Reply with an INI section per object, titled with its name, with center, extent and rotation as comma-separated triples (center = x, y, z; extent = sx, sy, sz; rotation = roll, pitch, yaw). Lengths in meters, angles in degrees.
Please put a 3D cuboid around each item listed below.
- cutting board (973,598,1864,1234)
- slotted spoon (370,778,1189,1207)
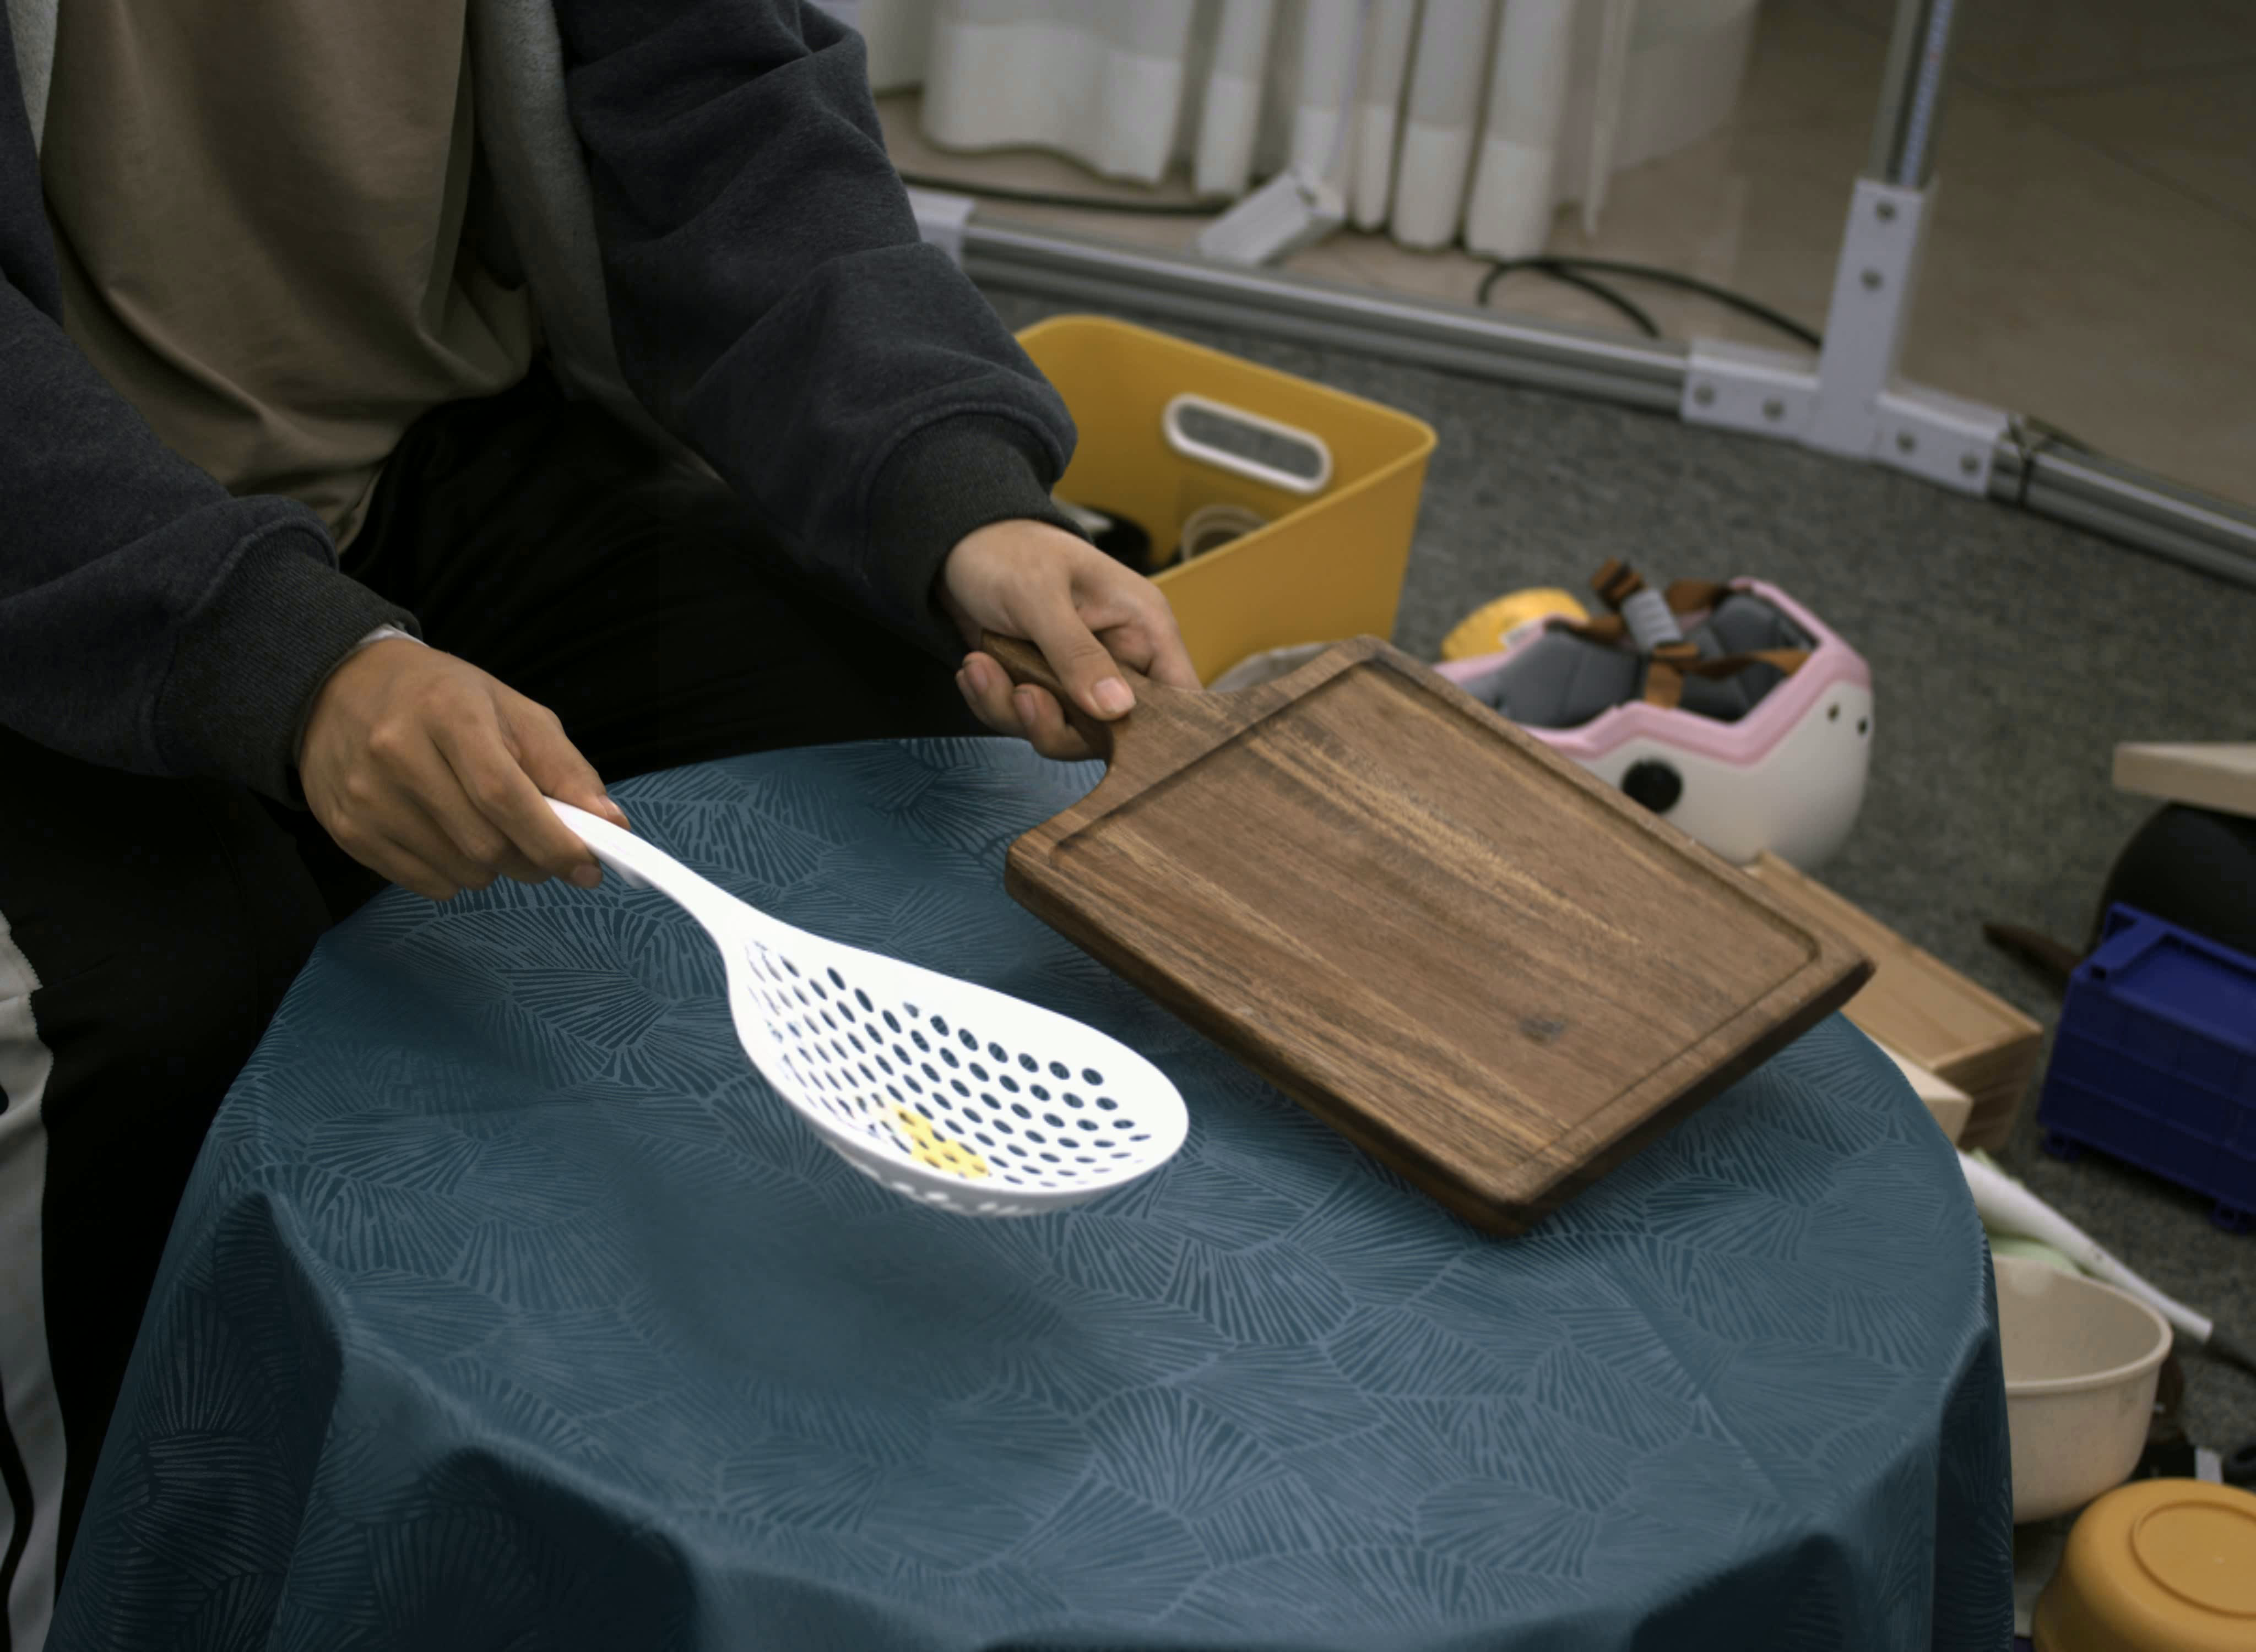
[cutting board]
center = 0.073, 0.007, 1.927
extent = 0.200, 0.023, 0.355
rotation = -31, 51, -34
[slotted spoon]
center = -0.130, 0.044, 1.770
extent = 0.350, 0.050, 0.136
rotation = 34, 31, 33
